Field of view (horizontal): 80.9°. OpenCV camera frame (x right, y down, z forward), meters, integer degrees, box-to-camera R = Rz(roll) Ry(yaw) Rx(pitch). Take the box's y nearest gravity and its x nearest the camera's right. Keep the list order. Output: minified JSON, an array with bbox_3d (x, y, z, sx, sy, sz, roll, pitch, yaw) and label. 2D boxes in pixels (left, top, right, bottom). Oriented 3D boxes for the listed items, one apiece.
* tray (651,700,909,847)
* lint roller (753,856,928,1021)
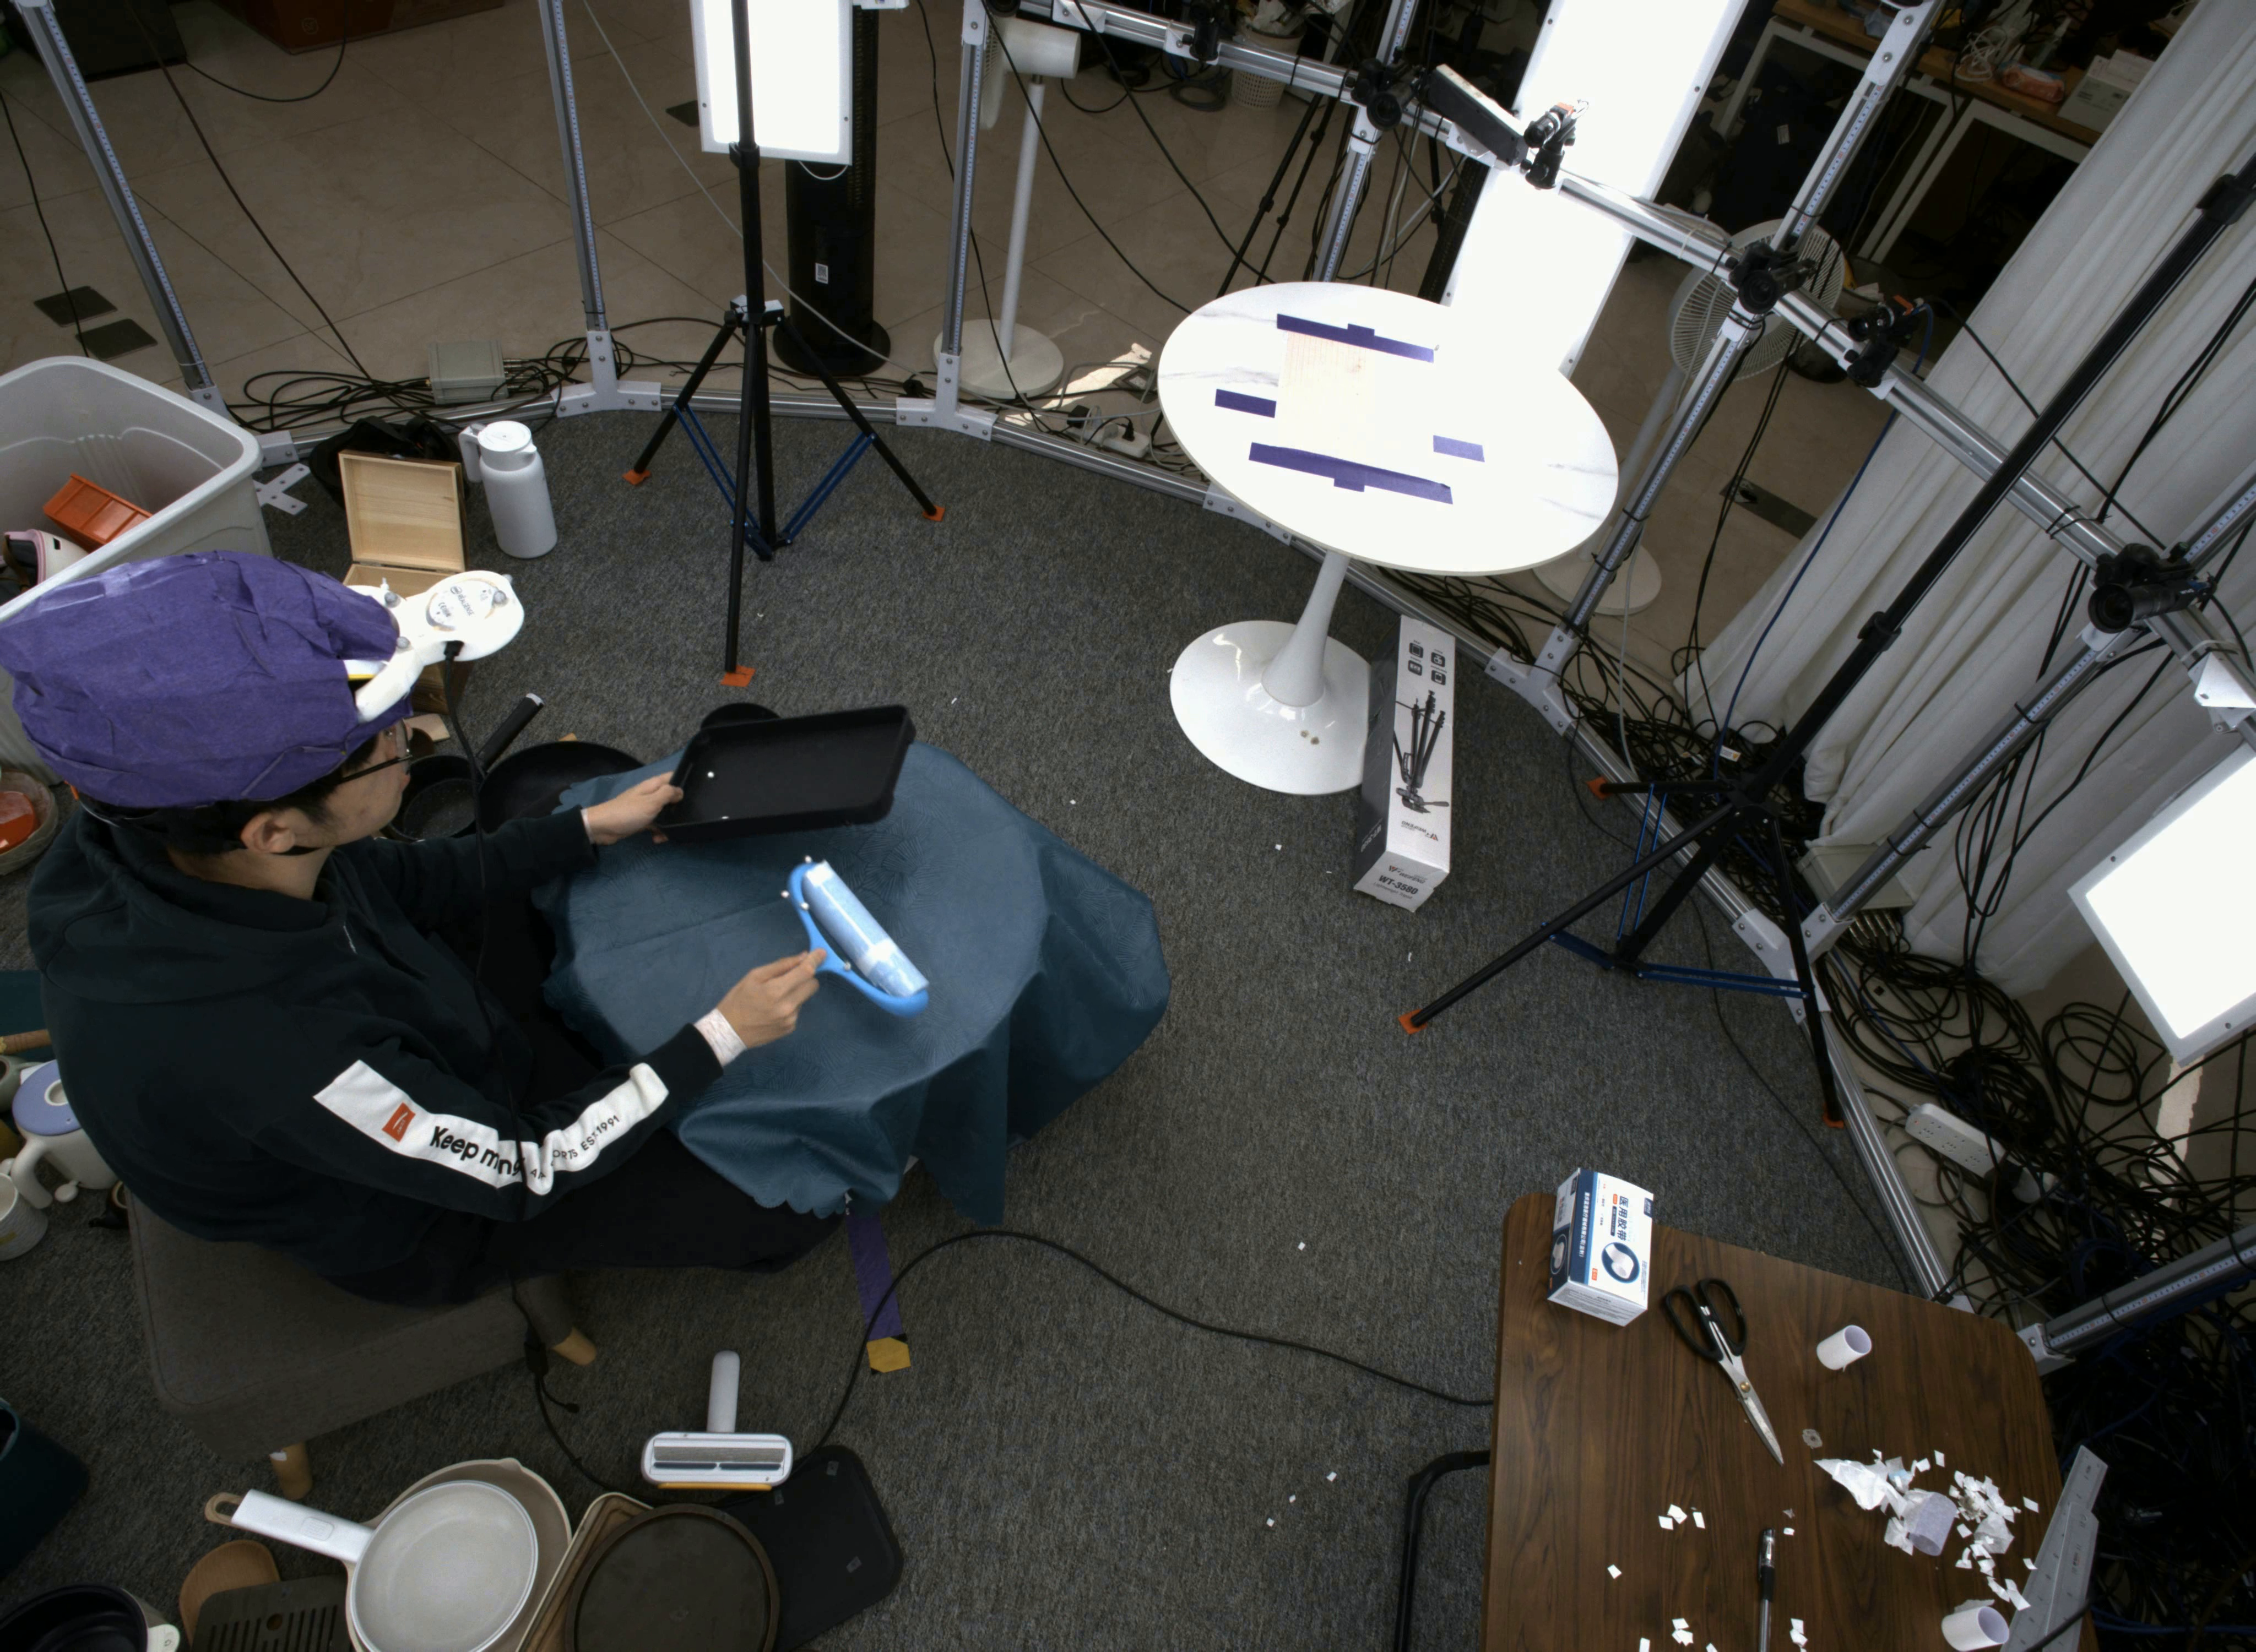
[{"bbox_3d":[-0.440,-0.068,1.639,0.311,0.038,0.181,-6,46,13],"label":"tray"},{"bbox_3d":[-0.358,0.157,1.509,0.228,0.068,0.180,47,59,2],"label":"lint roller"}]
